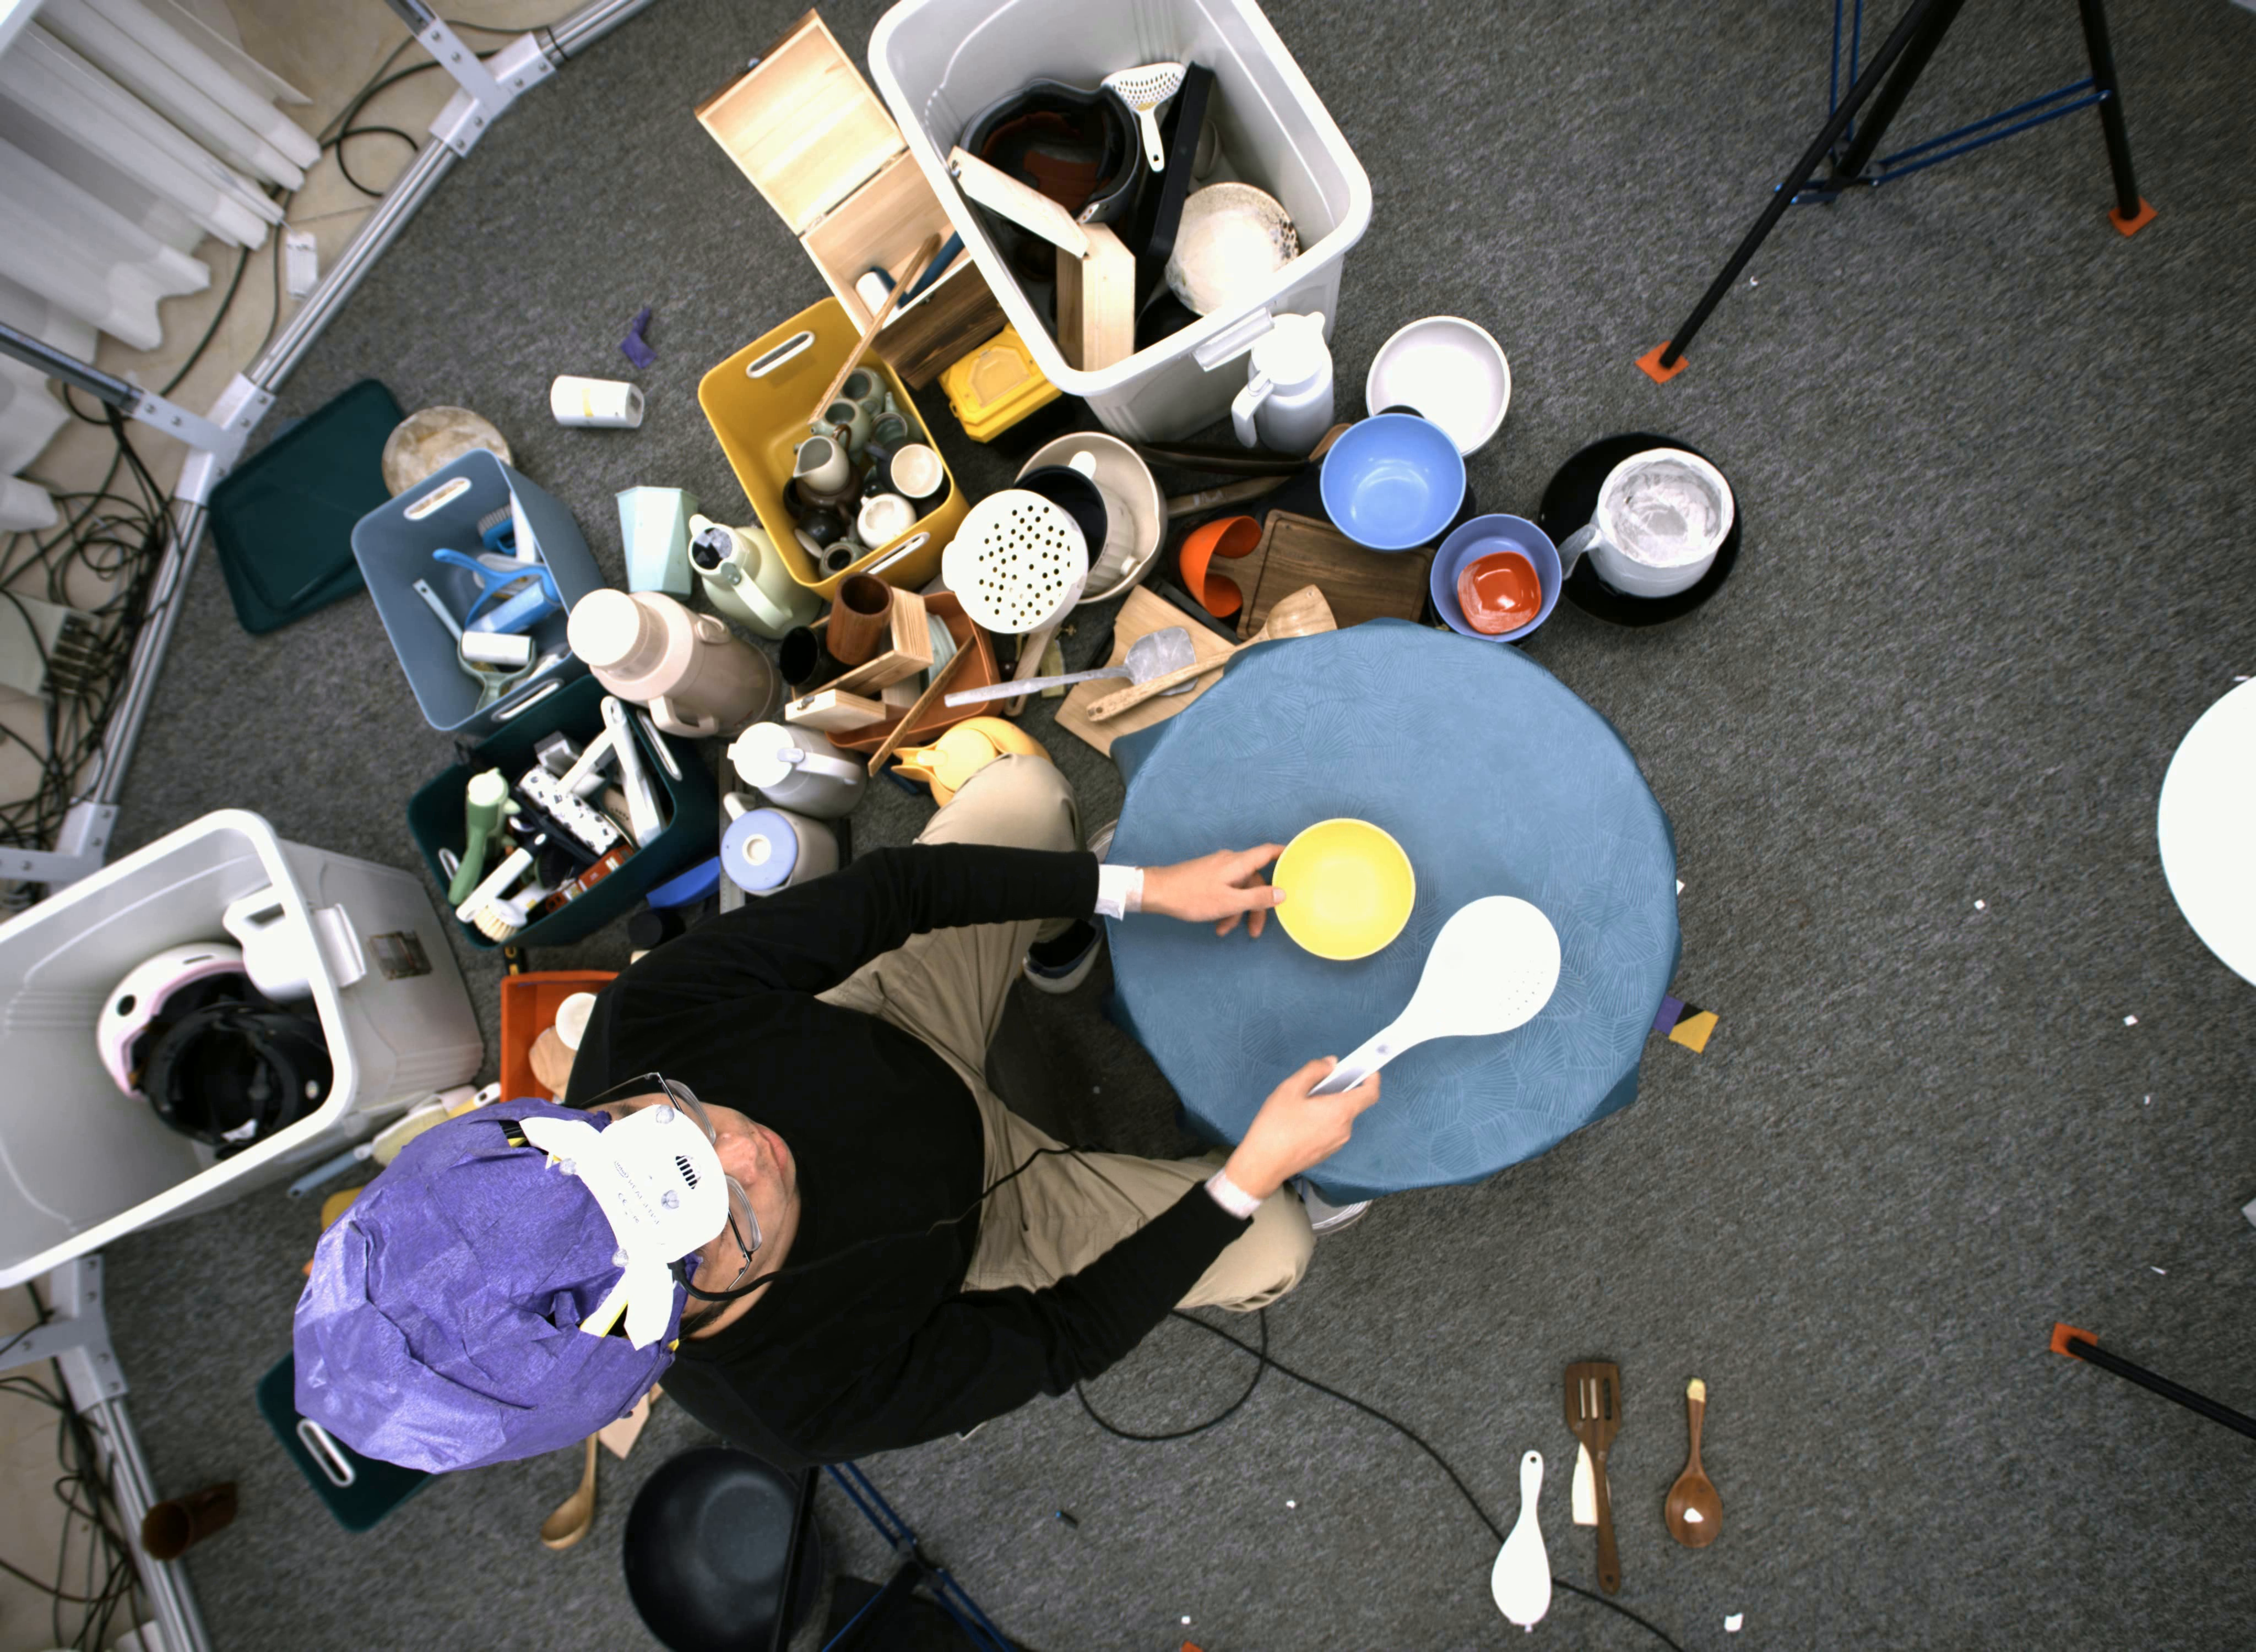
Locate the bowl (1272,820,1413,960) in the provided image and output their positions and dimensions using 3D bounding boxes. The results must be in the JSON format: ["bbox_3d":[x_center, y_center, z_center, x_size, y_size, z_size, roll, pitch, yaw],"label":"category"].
[{"bbox_3d":[0.223,0.068,1.441,0.146,0.060,0.144,-1,84,10],"label":"bowl"}]

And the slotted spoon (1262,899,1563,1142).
[{"bbox_3d":[0.278,0.197,1.355,0.348,0.045,0.137,-36,106,-8],"label":"slotted spoon"}]
